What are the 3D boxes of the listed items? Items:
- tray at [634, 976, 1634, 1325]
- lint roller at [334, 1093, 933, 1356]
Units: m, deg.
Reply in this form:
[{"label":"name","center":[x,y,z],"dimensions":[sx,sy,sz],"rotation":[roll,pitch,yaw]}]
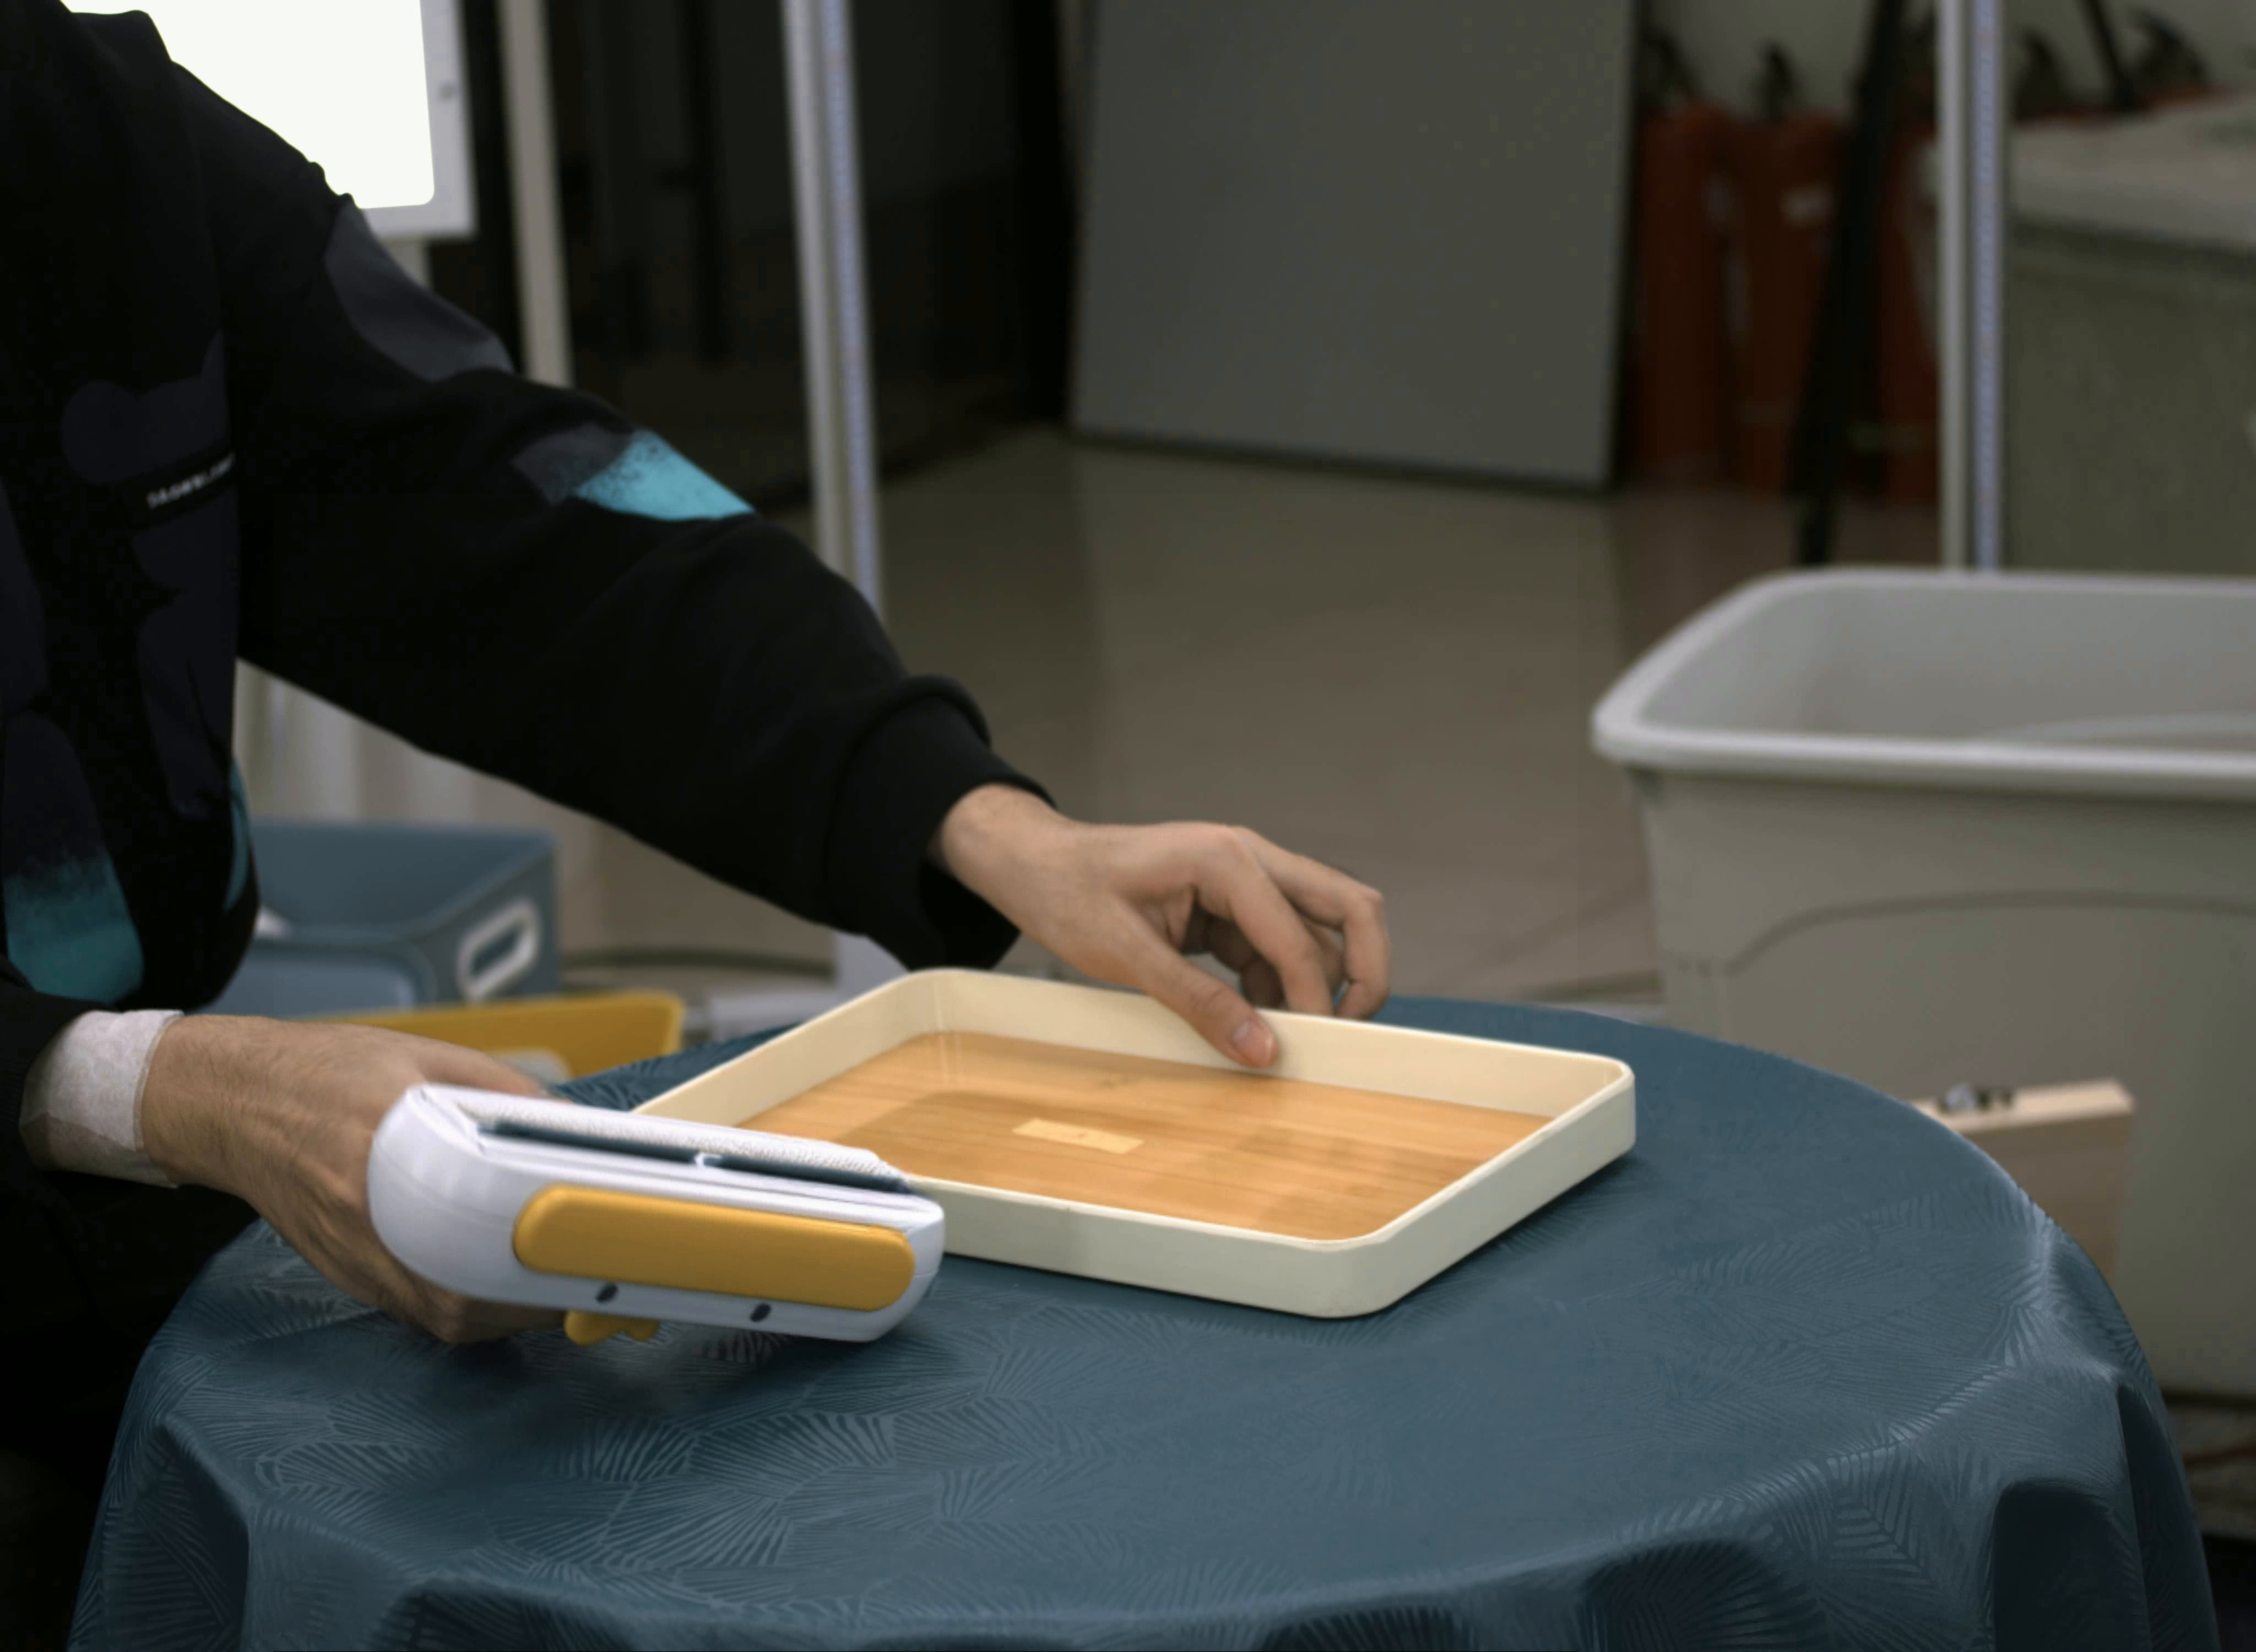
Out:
[{"label":"tray","center":[-0.001,0.103,1.781],"dimensions":[0.302,0.028,0.188],"rotation":[6,19,35]},{"label":"lint roller","center":[-0.177,0.111,1.654],"dimensions":[0.188,0.075,0.194],"rotation":[4,11,-35]}]
